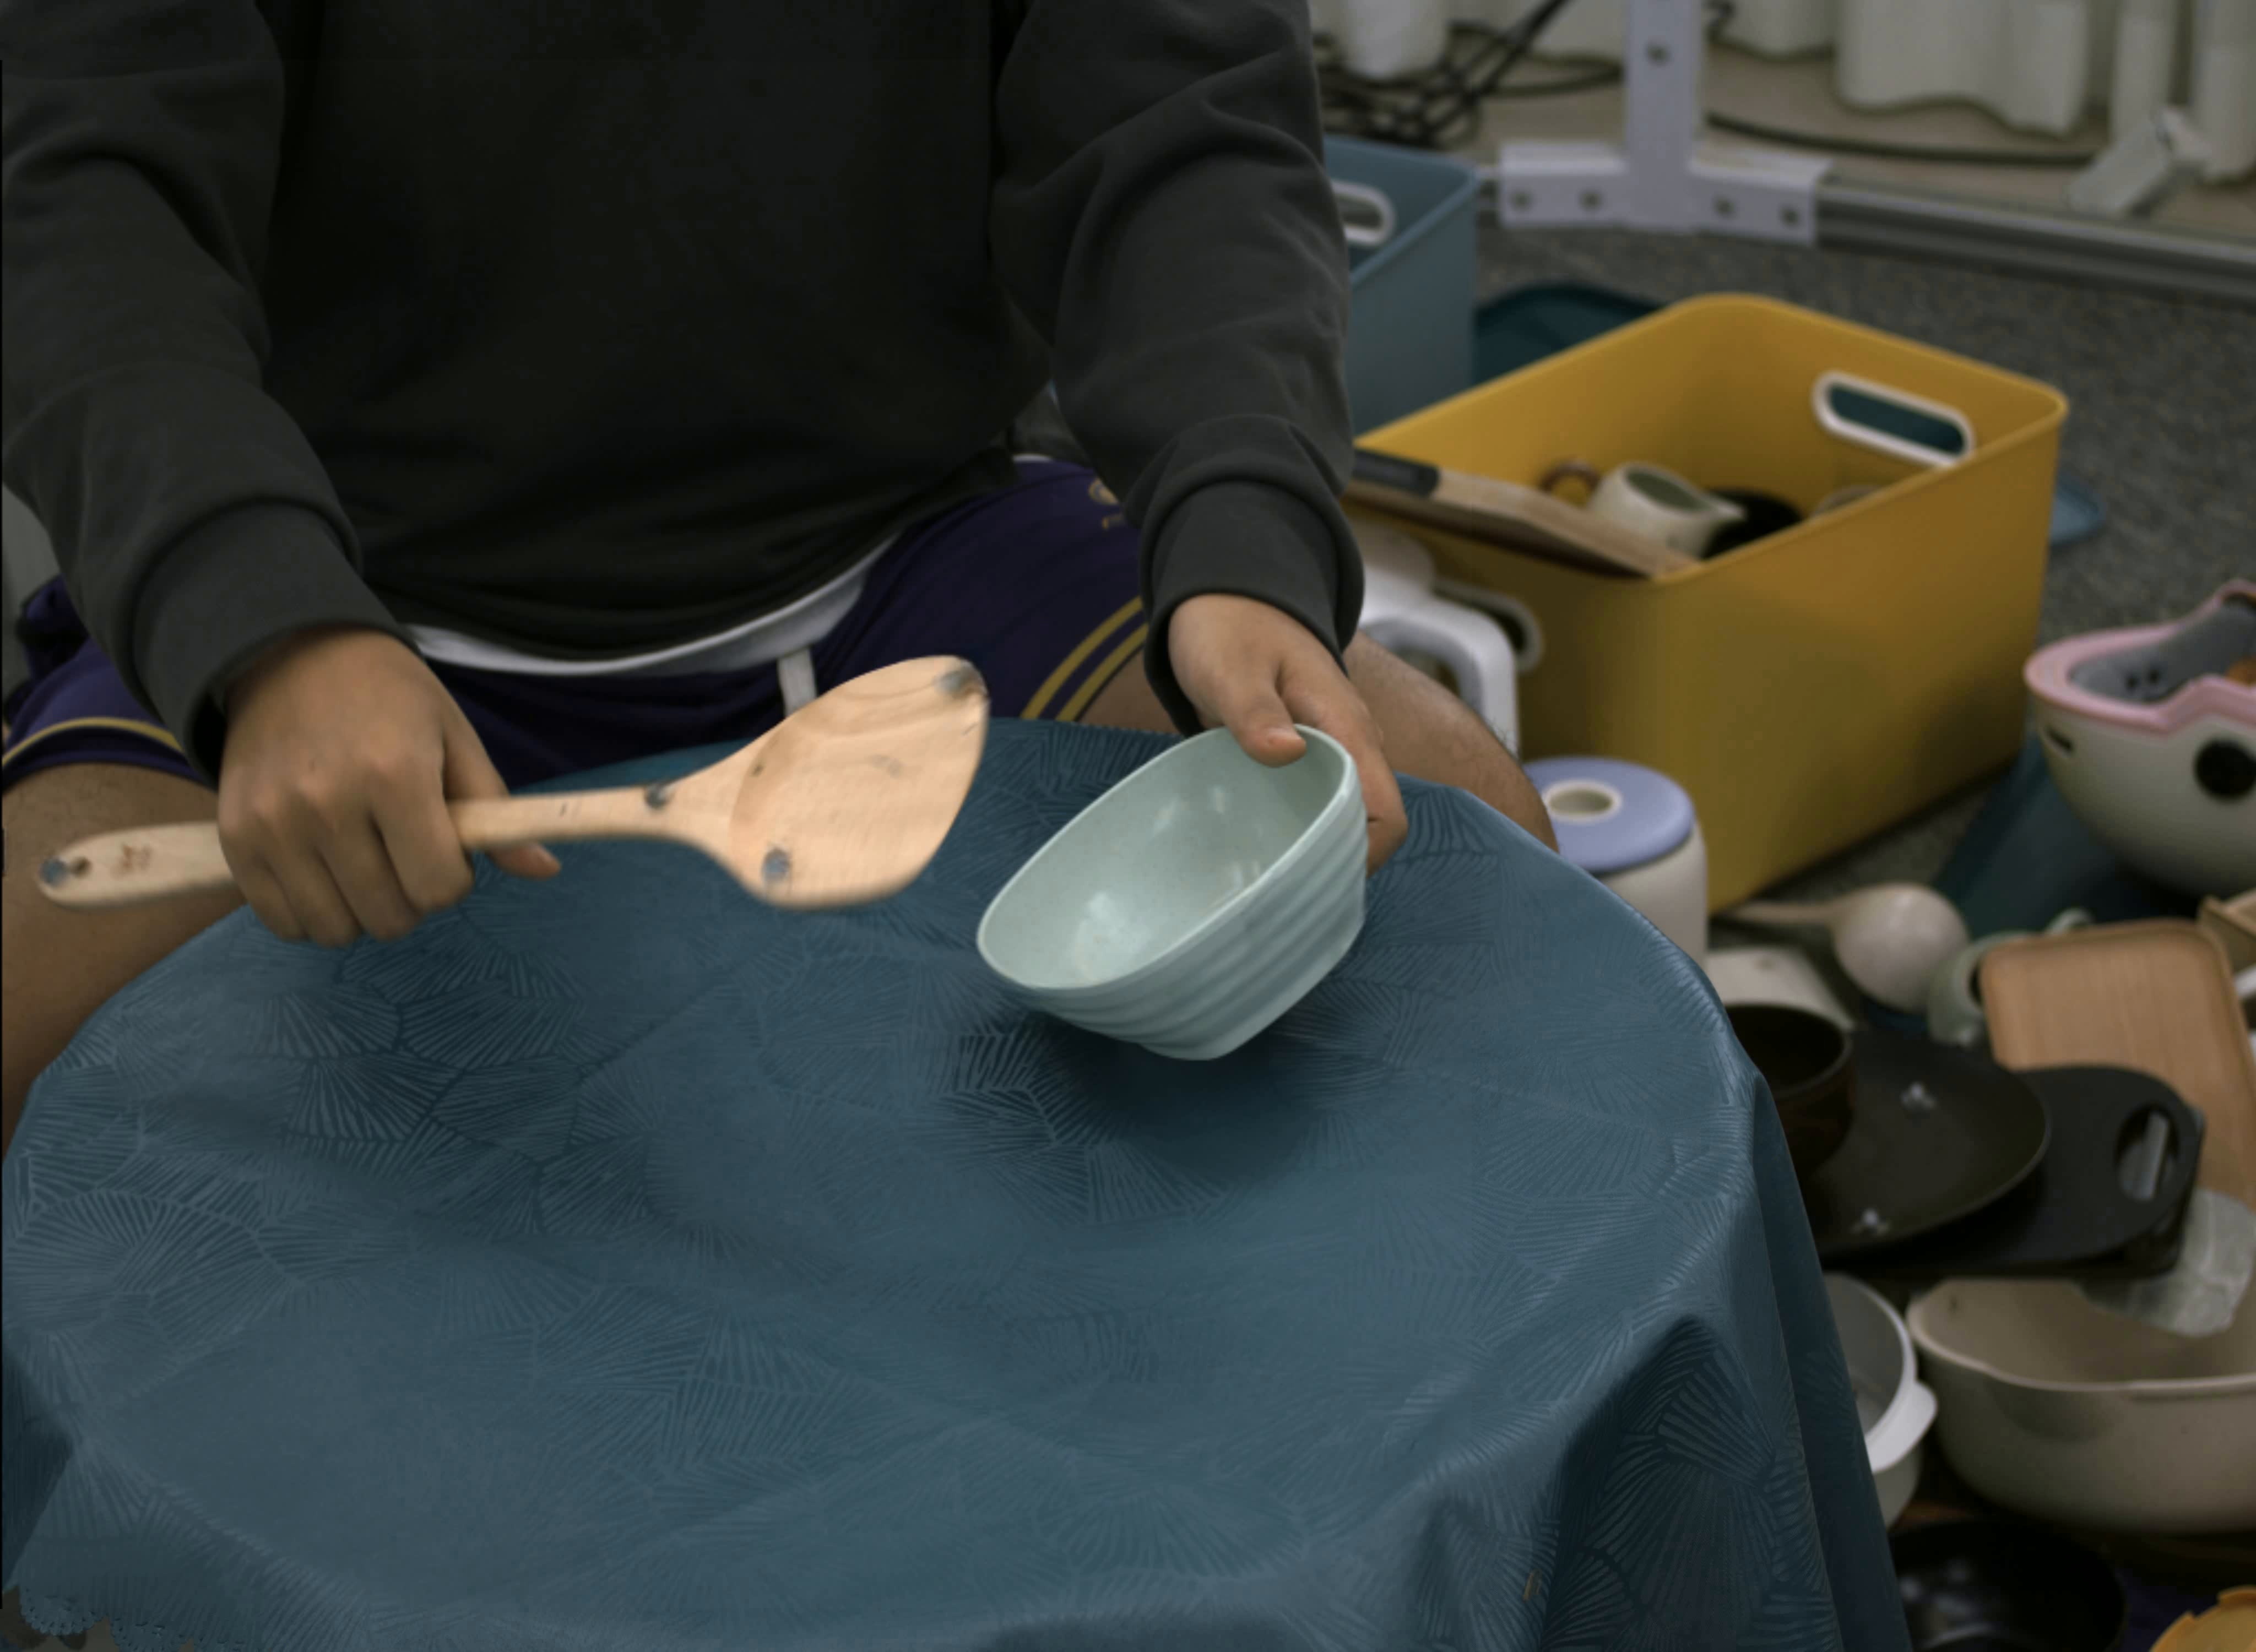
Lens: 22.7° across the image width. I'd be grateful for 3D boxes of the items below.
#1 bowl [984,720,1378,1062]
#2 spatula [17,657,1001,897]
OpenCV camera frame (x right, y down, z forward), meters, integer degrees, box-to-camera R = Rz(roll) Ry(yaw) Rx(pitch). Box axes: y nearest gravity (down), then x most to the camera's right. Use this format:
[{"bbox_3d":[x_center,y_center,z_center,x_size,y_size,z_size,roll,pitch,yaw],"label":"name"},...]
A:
[{"bbox_3d":[0.028,0.030,1.934,0.150,0.058,0.154,-26,25,14],"label":"bowl"},{"bbox_3d":[-0.212,-0.001,1.846,0.386,0.018,0.098,-6,41,27],"label":"spatula"}]
